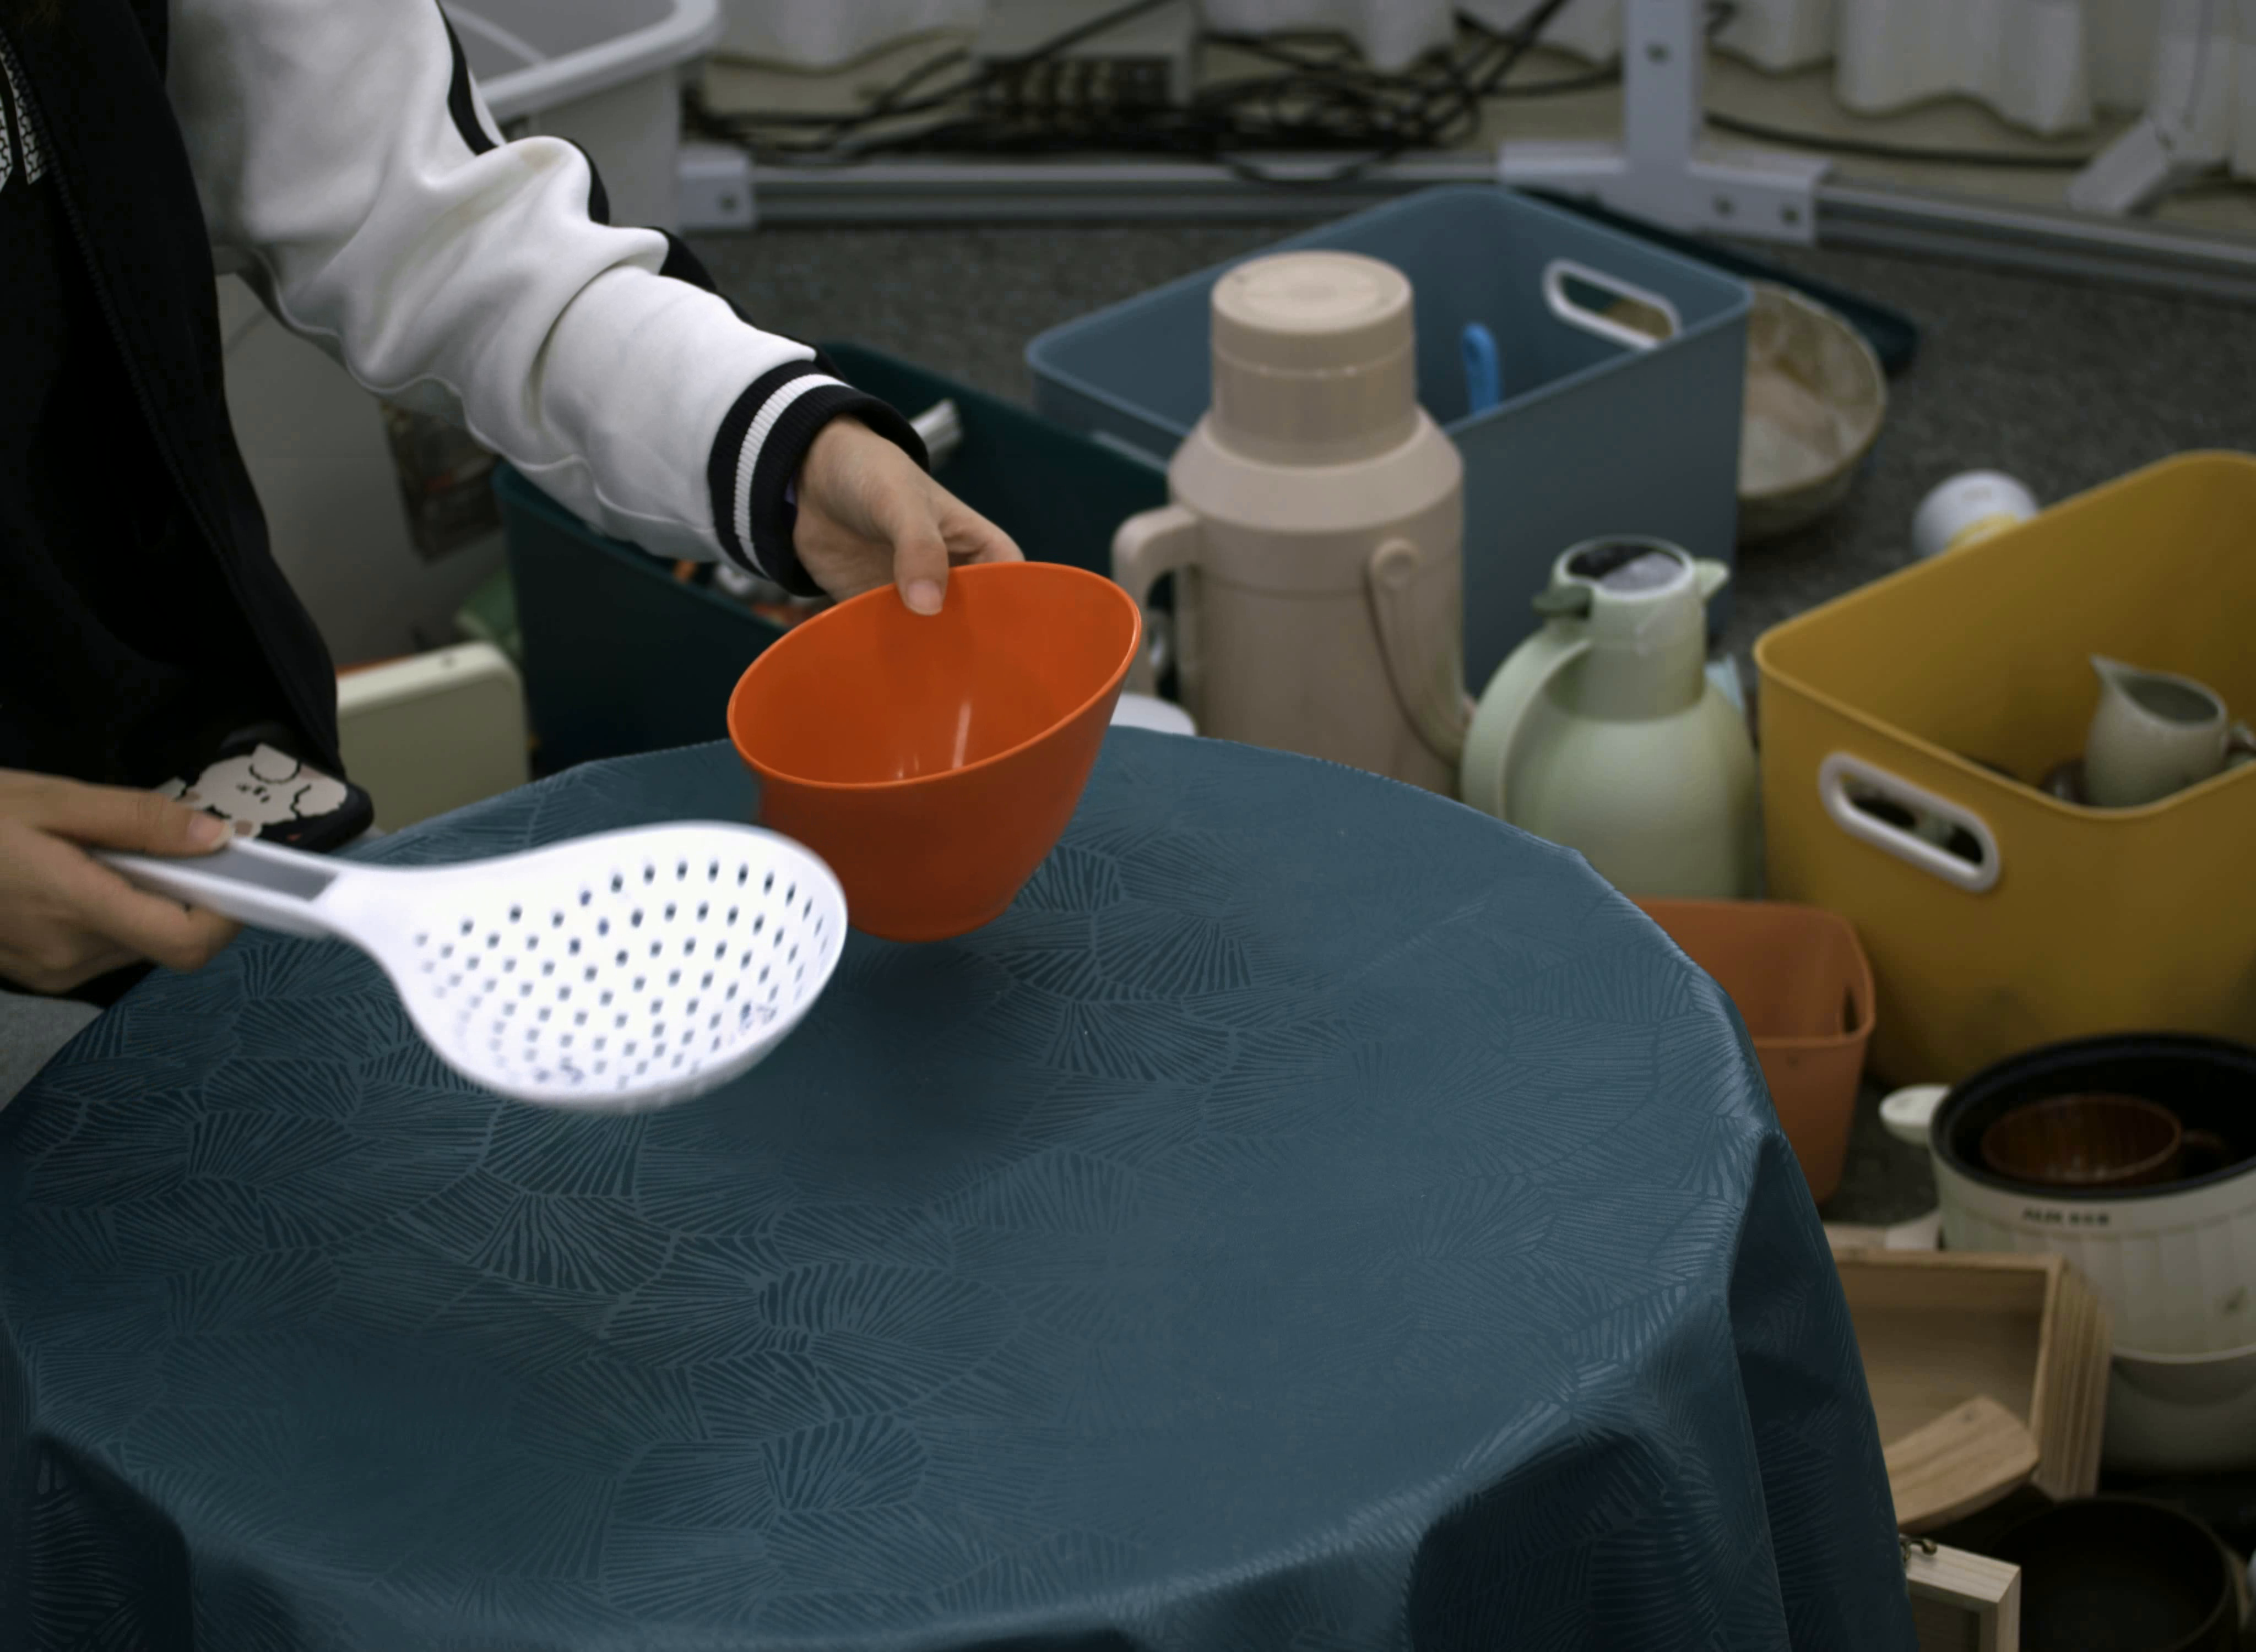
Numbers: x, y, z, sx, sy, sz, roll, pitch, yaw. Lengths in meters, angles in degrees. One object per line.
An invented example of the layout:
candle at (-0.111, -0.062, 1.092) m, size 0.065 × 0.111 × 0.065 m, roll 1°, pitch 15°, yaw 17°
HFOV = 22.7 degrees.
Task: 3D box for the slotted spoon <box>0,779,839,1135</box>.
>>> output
slotted spoon at (-0.246, 0.032, 1.811) m, size 0.348 × 0.045 × 0.138 m, roll 17°, pitch 43°, yaw 27°

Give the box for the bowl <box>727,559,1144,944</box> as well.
bowl at (-0.064, -0.019, 1.963) m, size 0.147 × 0.103 × 0.150 m, roll -3°, pitch 33°, yaw 3°
